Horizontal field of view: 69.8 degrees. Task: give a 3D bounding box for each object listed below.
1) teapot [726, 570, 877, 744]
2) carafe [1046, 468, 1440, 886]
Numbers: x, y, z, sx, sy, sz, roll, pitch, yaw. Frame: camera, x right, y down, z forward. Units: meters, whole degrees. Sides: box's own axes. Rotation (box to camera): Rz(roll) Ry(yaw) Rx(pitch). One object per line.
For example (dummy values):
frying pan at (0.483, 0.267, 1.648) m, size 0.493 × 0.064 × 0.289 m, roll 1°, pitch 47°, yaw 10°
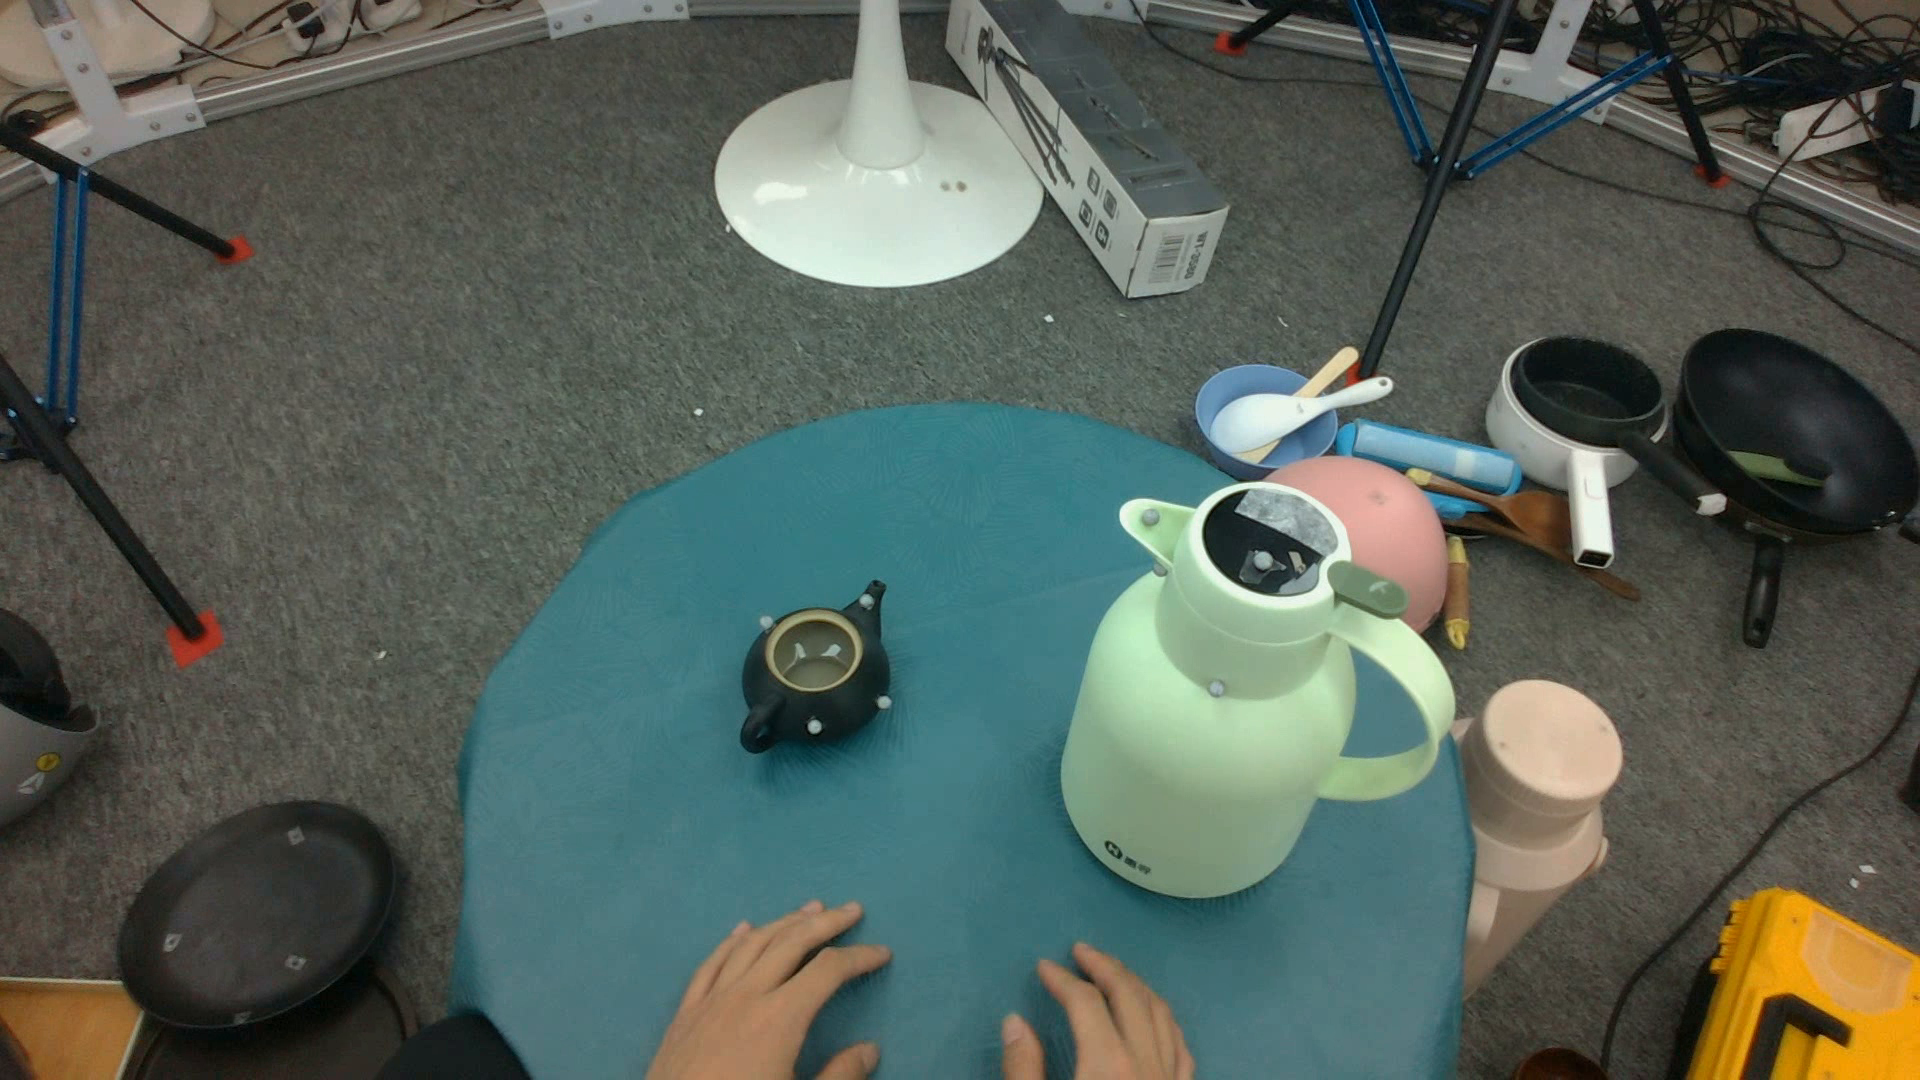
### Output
teapot at (-0.096, 0.075, 0.838) m, size 0.091 × 0.053 × 0.134 m, roll 29°, pitch 55°, yaw 19°
carafe at (0.144, 0.077, 0.731) m, size 0.187 × 0.255 × 0.145 m, roll 27°, pitch 54°, yaw 12°
